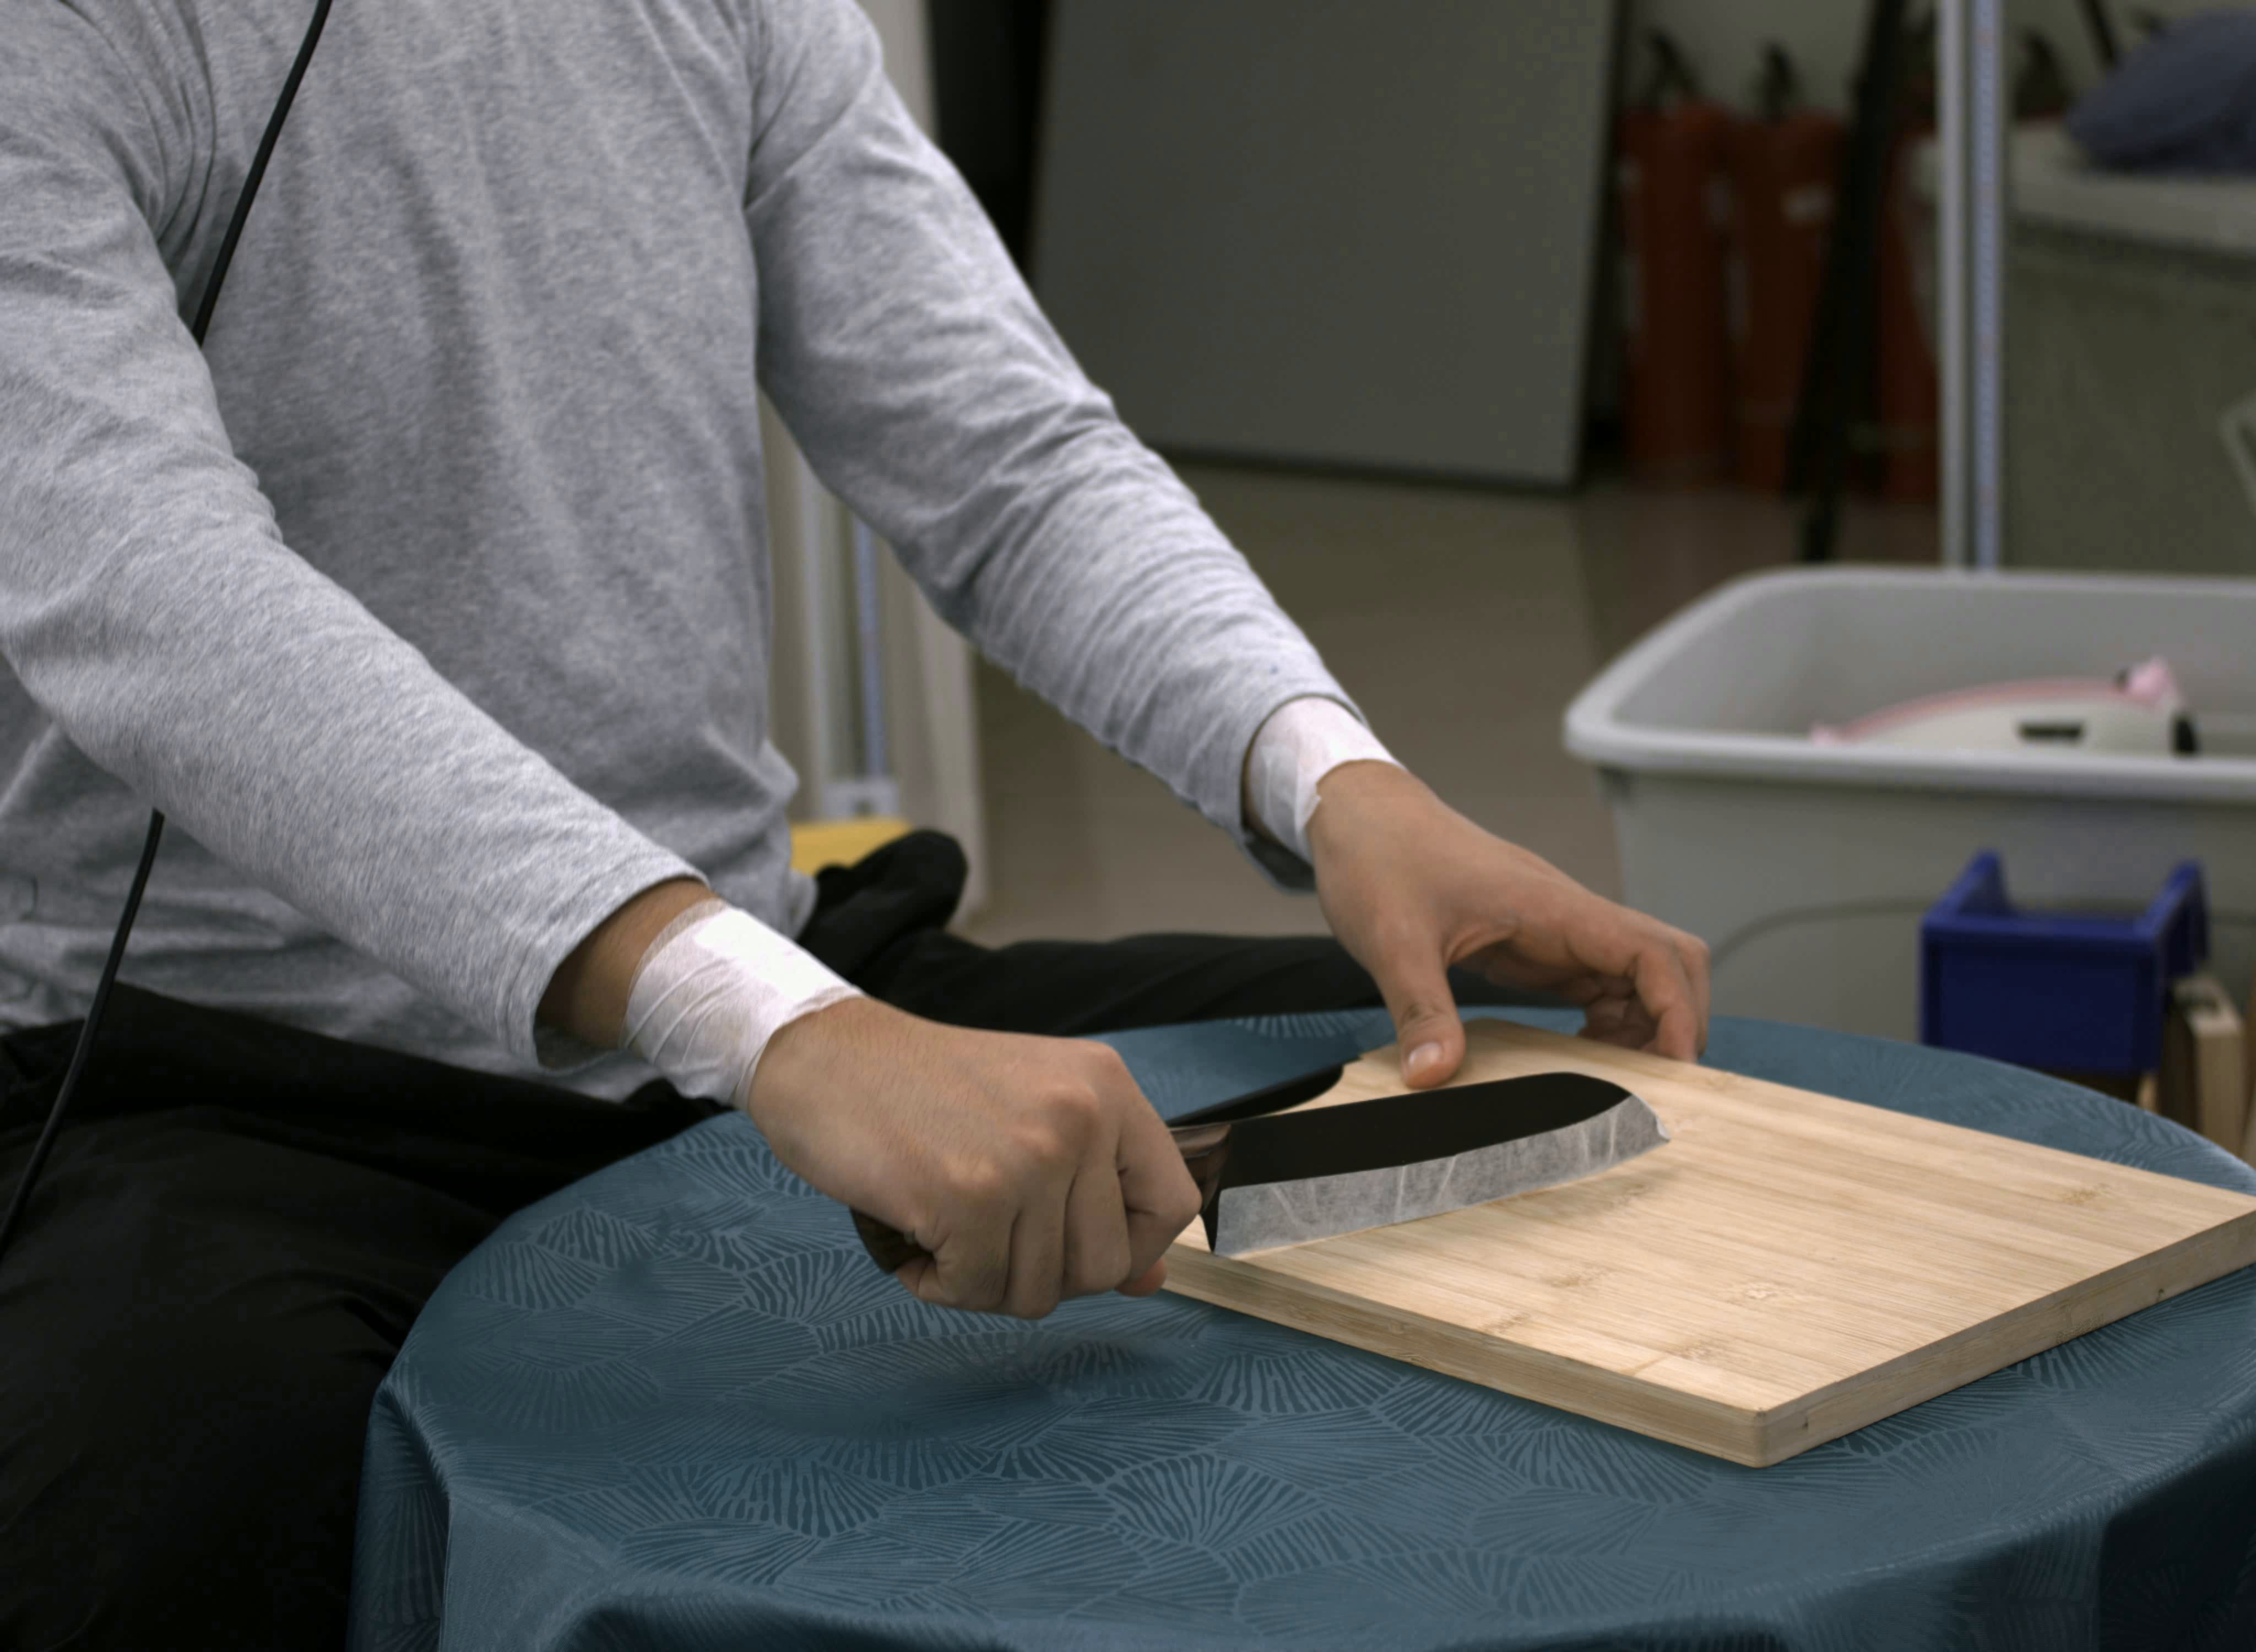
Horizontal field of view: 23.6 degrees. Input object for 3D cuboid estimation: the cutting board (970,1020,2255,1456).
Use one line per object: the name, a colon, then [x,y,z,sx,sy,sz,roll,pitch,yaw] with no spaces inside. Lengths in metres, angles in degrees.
cutting board: [0.147,0.123,1.691,0.245,0.024,0.352,-15,17,-40]

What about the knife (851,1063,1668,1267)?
knife: [0.046,0.105,1.641,0.282,0.051,0.020,-5,23,-27]
